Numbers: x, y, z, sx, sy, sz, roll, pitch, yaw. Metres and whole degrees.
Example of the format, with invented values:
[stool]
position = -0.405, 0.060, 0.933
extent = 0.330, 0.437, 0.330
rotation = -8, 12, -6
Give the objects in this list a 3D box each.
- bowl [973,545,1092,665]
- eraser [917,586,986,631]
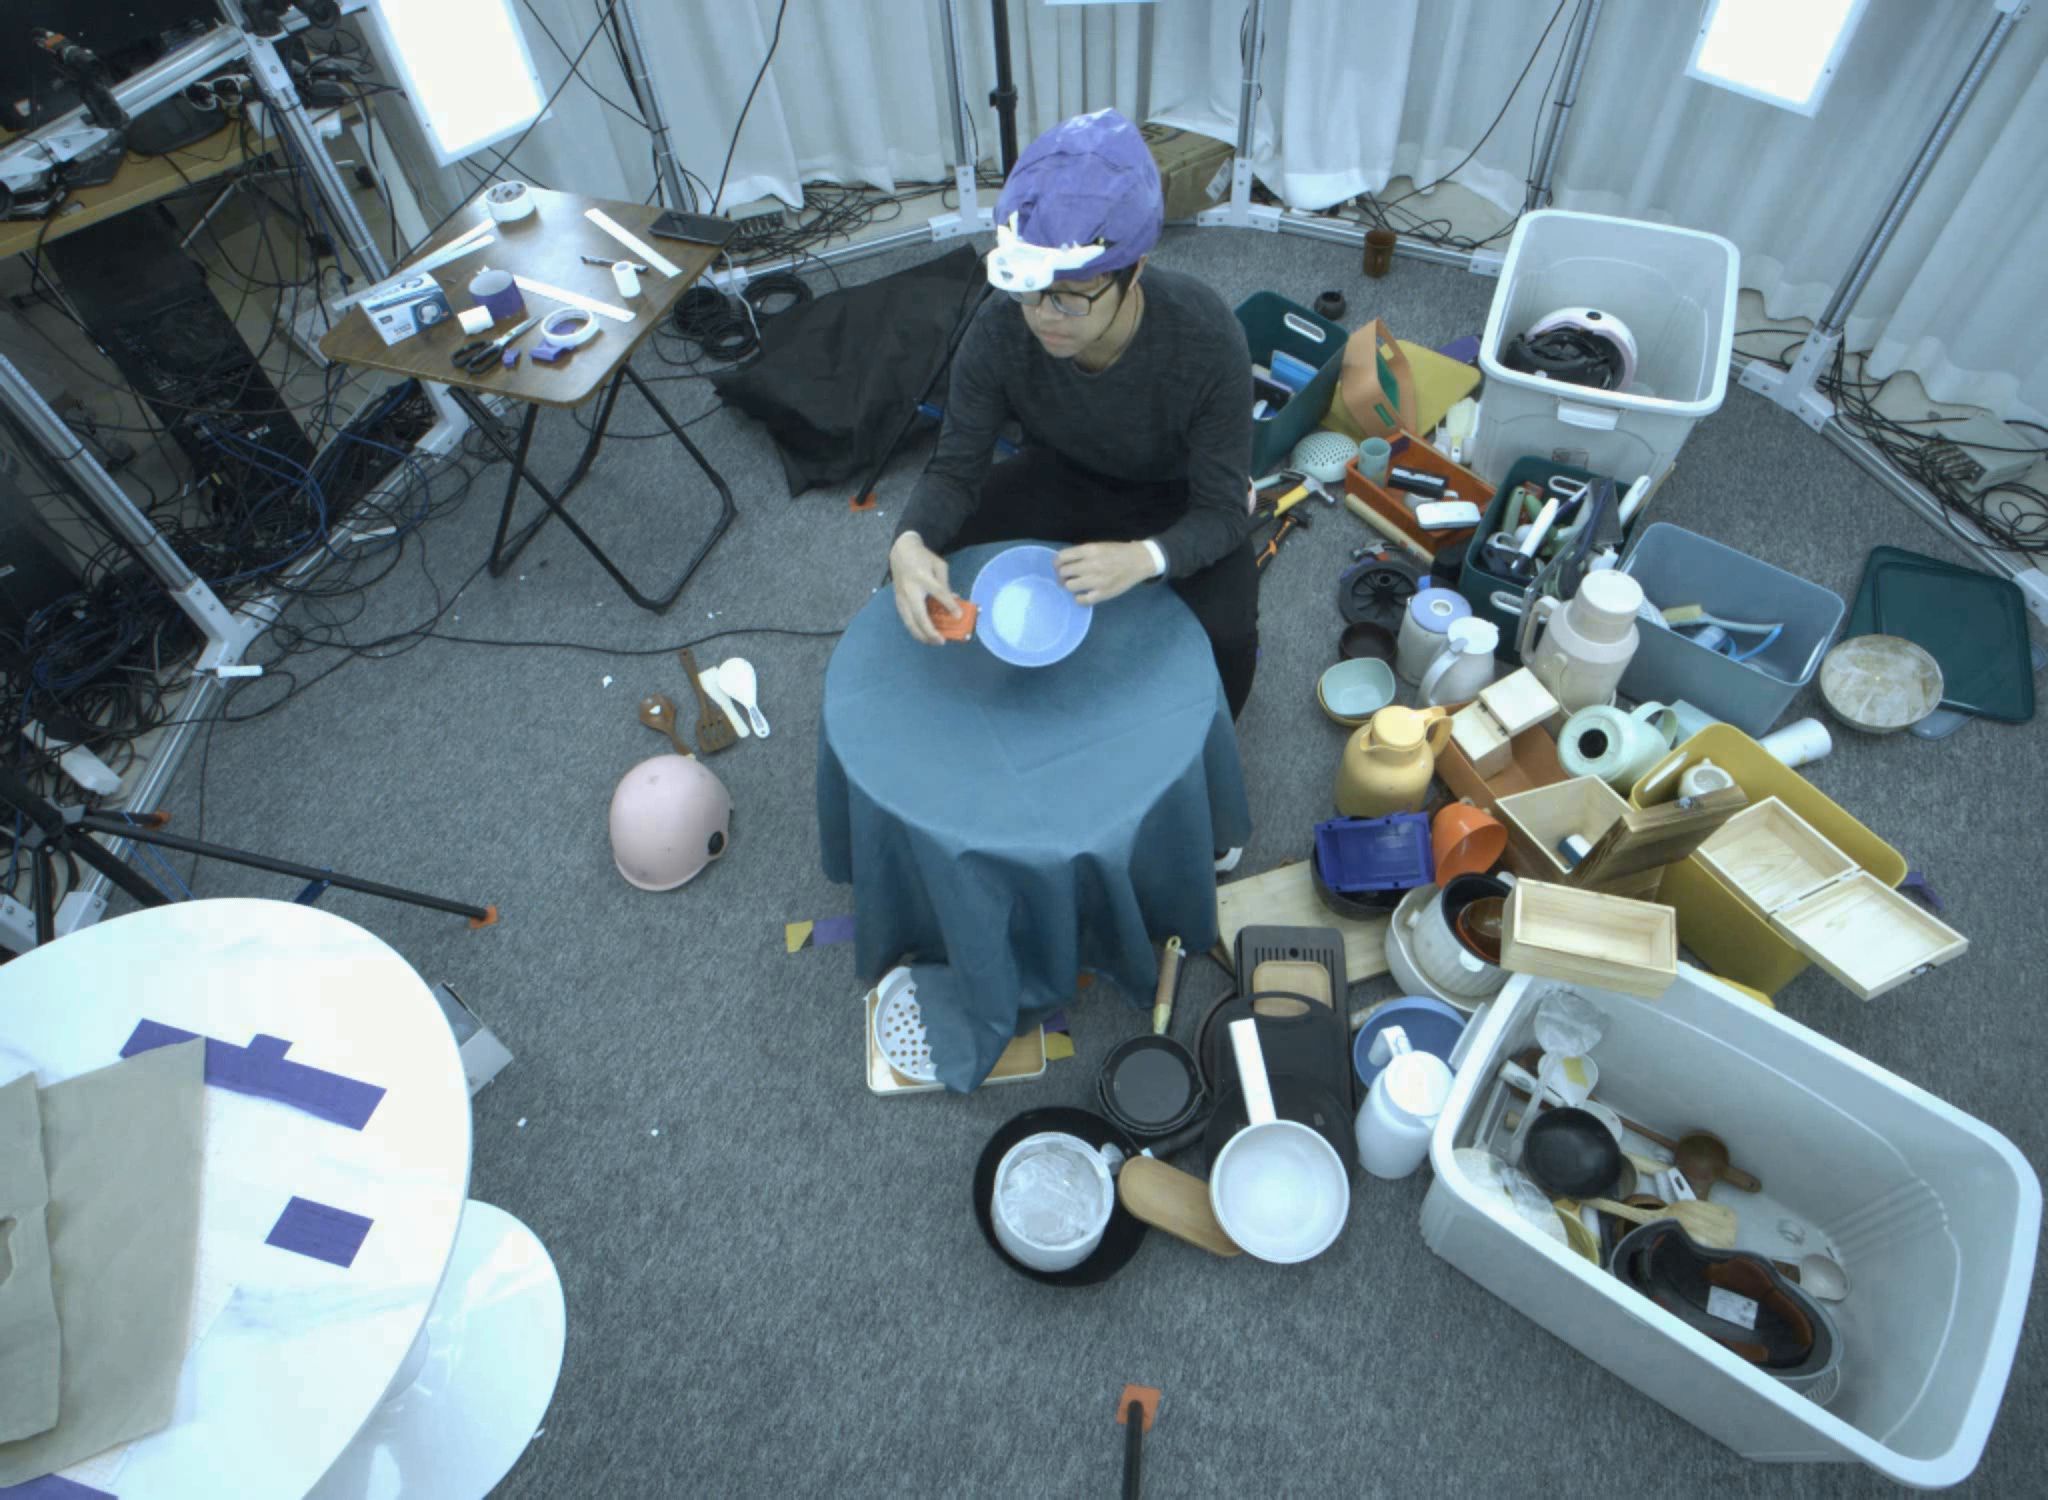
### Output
[bowl]
position = 0.009, -0.207, 1.796
extent = 0.176, 0.070, 0.176
rotation = 0, 87, -2
[eraser]
position = -0.105, -0.204, 1.762
extent = 0.105, 0.023, 0.059
rotation = 10, 87, 37
